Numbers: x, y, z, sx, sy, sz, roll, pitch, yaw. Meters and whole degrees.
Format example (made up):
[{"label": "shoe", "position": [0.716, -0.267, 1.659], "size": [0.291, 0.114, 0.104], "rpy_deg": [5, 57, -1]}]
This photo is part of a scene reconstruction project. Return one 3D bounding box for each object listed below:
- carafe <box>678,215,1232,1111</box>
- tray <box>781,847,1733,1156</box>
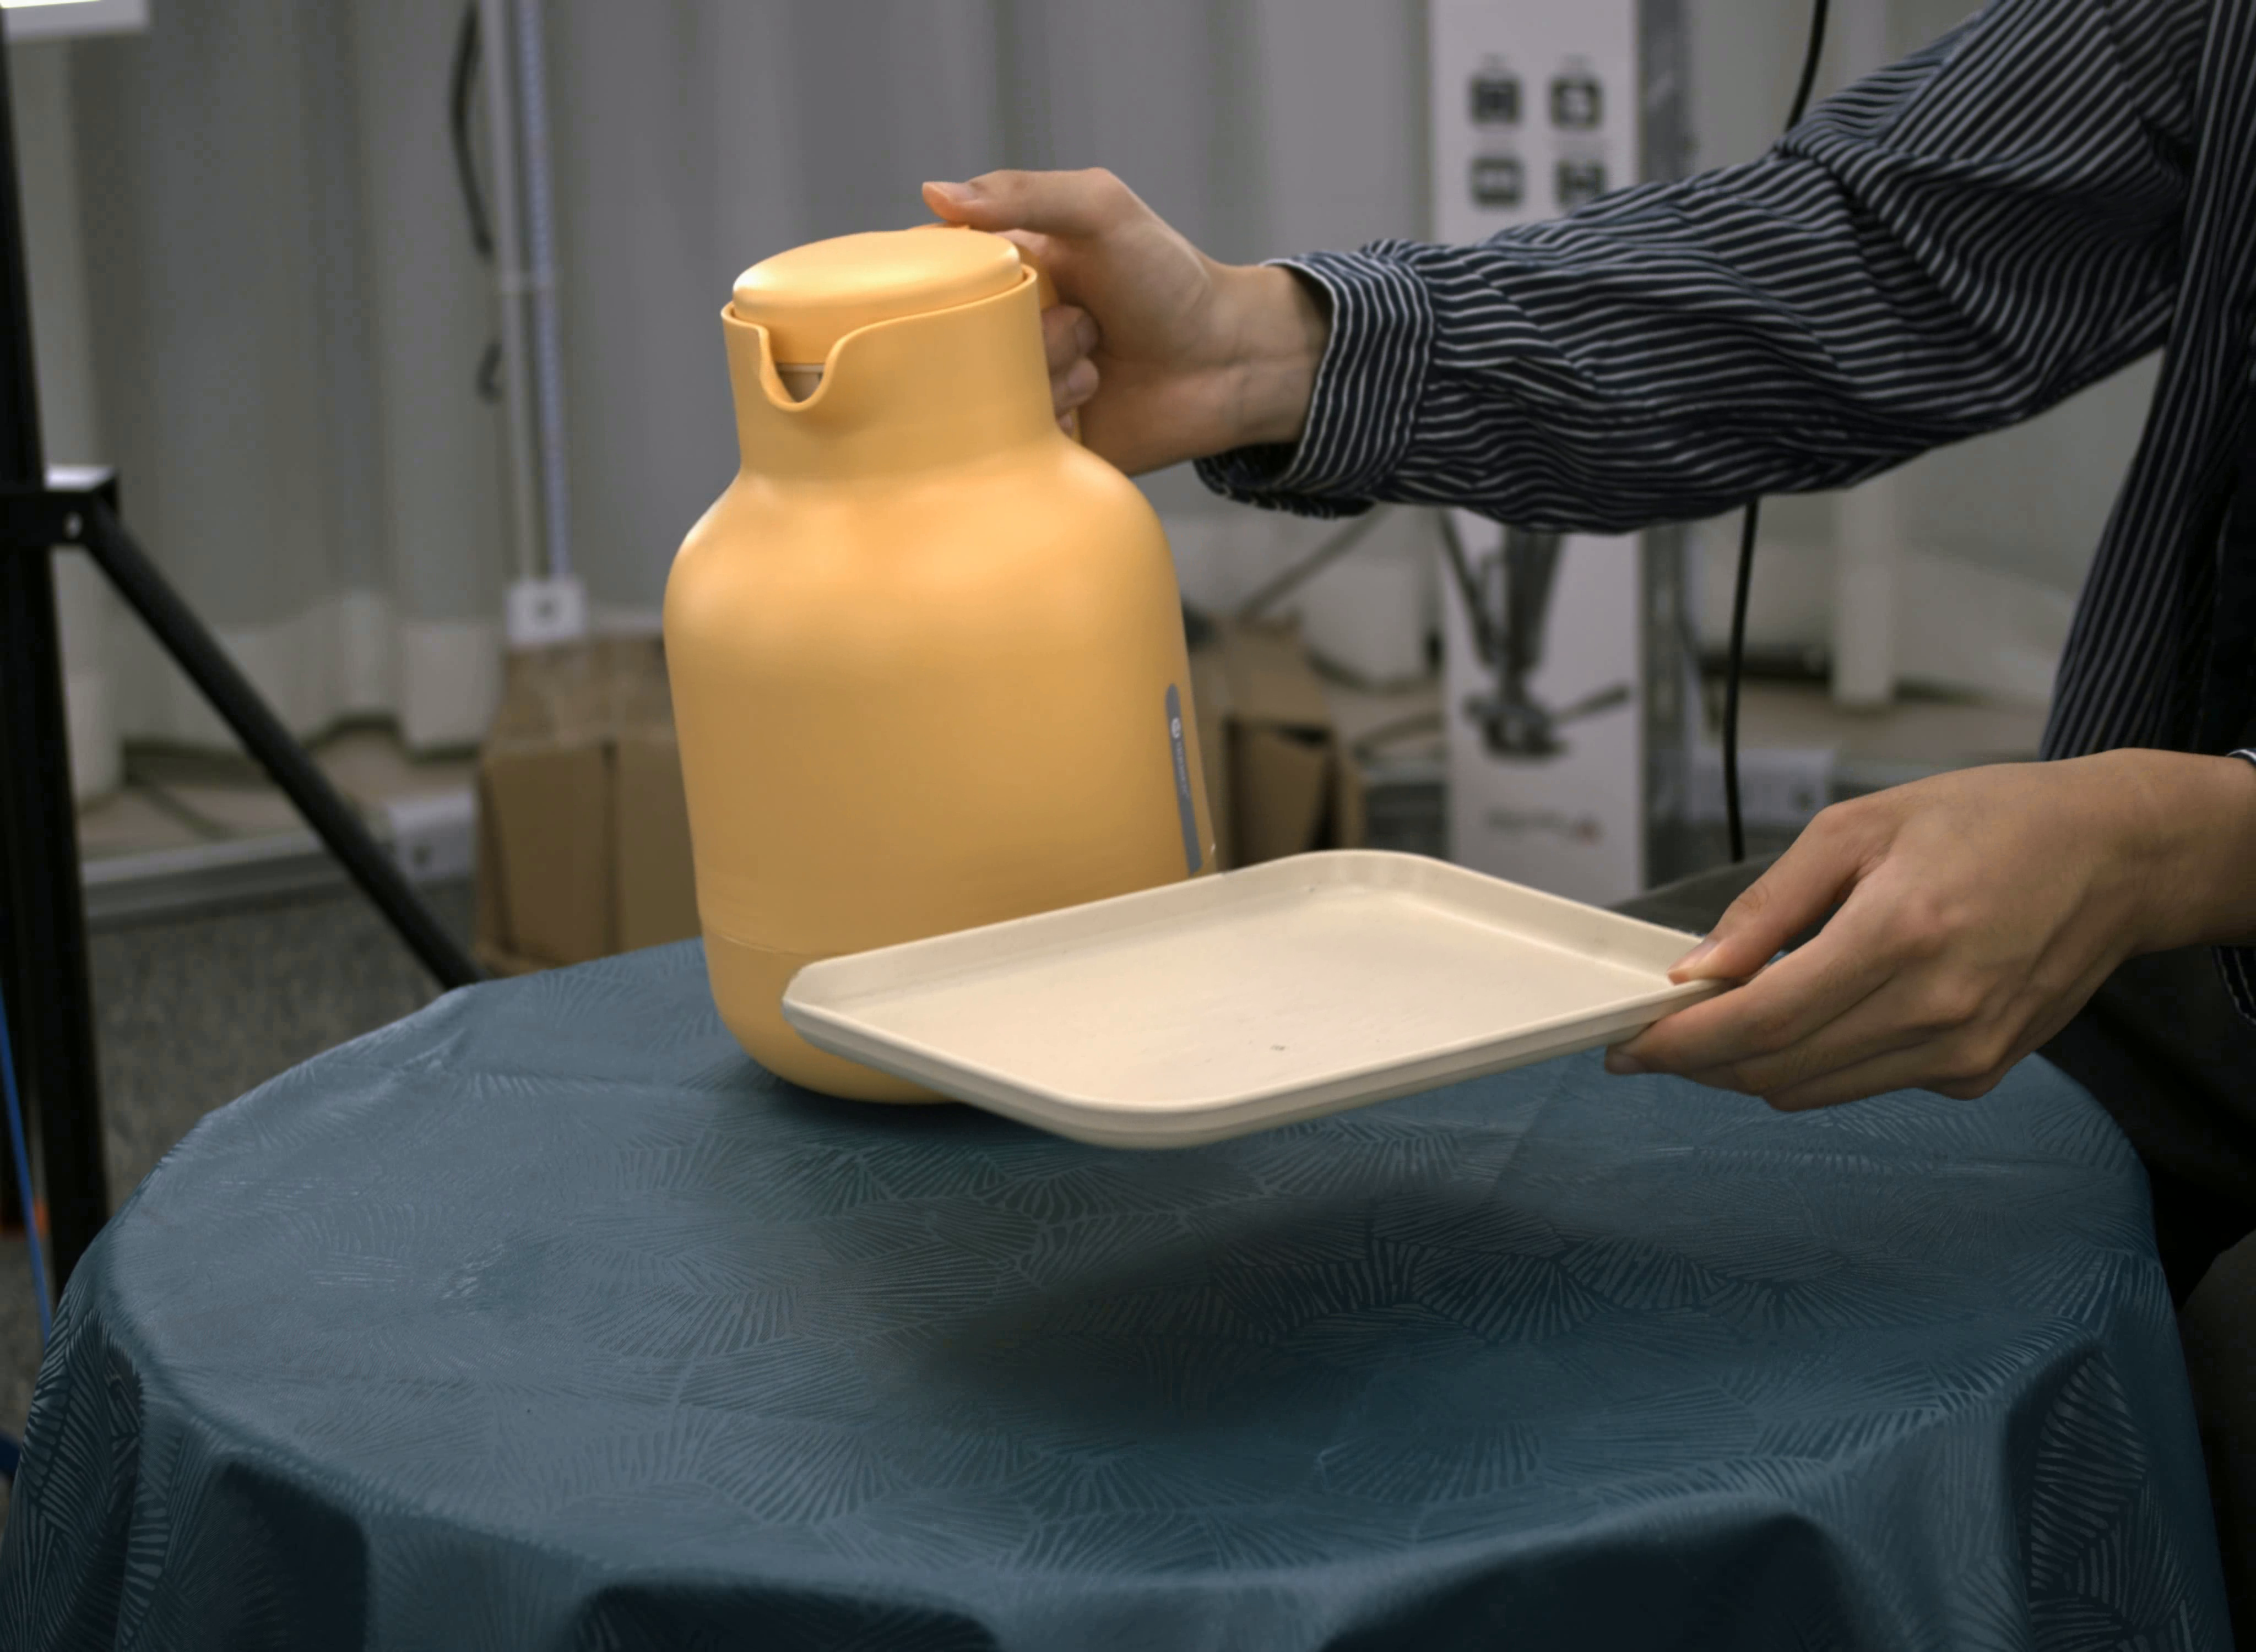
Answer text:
[{"label": "carafe", "position": [-0.050, -0.058, 1.660], "size": [0.165, 0.260, 0.200], "rpy_deg": [0, 18, 19]}, {"label": "tray", "position": [0.037, 0.047, 1.463], "size": [0.234, 0.017, 0.175], "rpy_deg": [-11, 19, -38]}]
